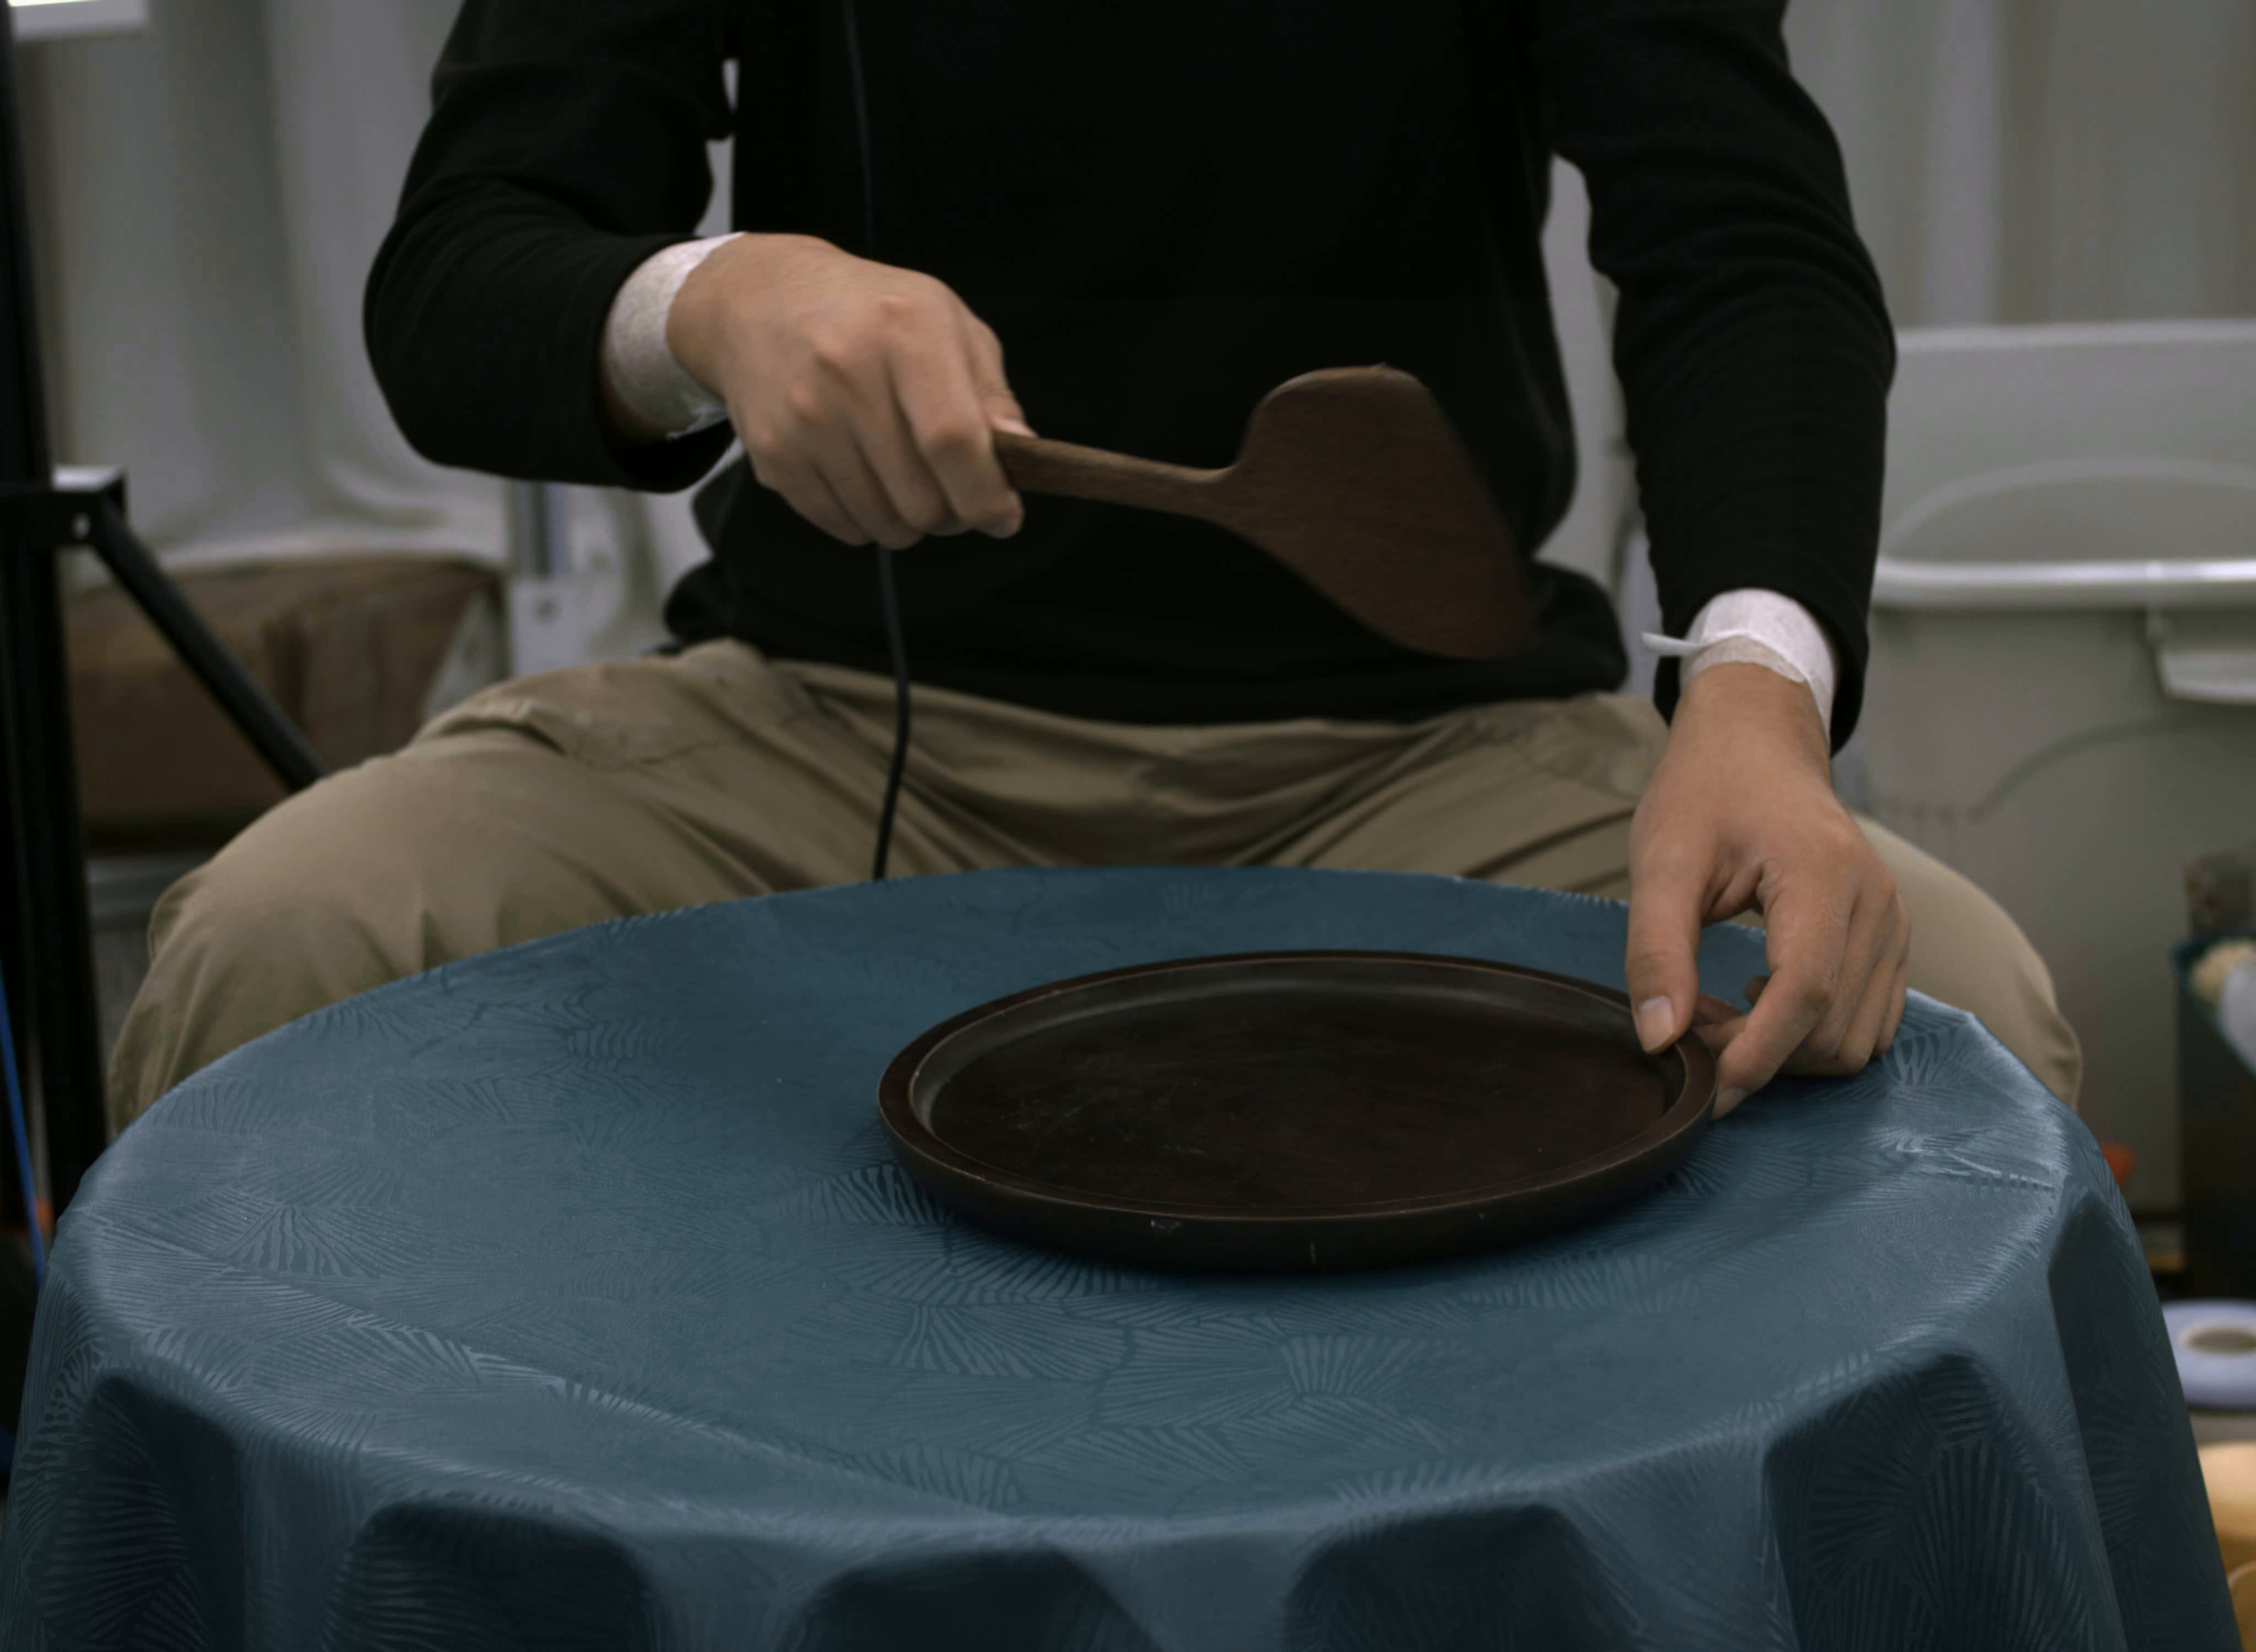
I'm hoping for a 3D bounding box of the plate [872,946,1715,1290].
[{"bbox_3d":[0.050,0.085,1.591,0.253,0.029,0.256,-4,17,0],"label":"plate"}]

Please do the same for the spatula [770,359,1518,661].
[{"bbox_3d":[-0.010,-0.106,1.600,0.015,0.095,0.394,-35,24,-22],"label":"spatula"}]
